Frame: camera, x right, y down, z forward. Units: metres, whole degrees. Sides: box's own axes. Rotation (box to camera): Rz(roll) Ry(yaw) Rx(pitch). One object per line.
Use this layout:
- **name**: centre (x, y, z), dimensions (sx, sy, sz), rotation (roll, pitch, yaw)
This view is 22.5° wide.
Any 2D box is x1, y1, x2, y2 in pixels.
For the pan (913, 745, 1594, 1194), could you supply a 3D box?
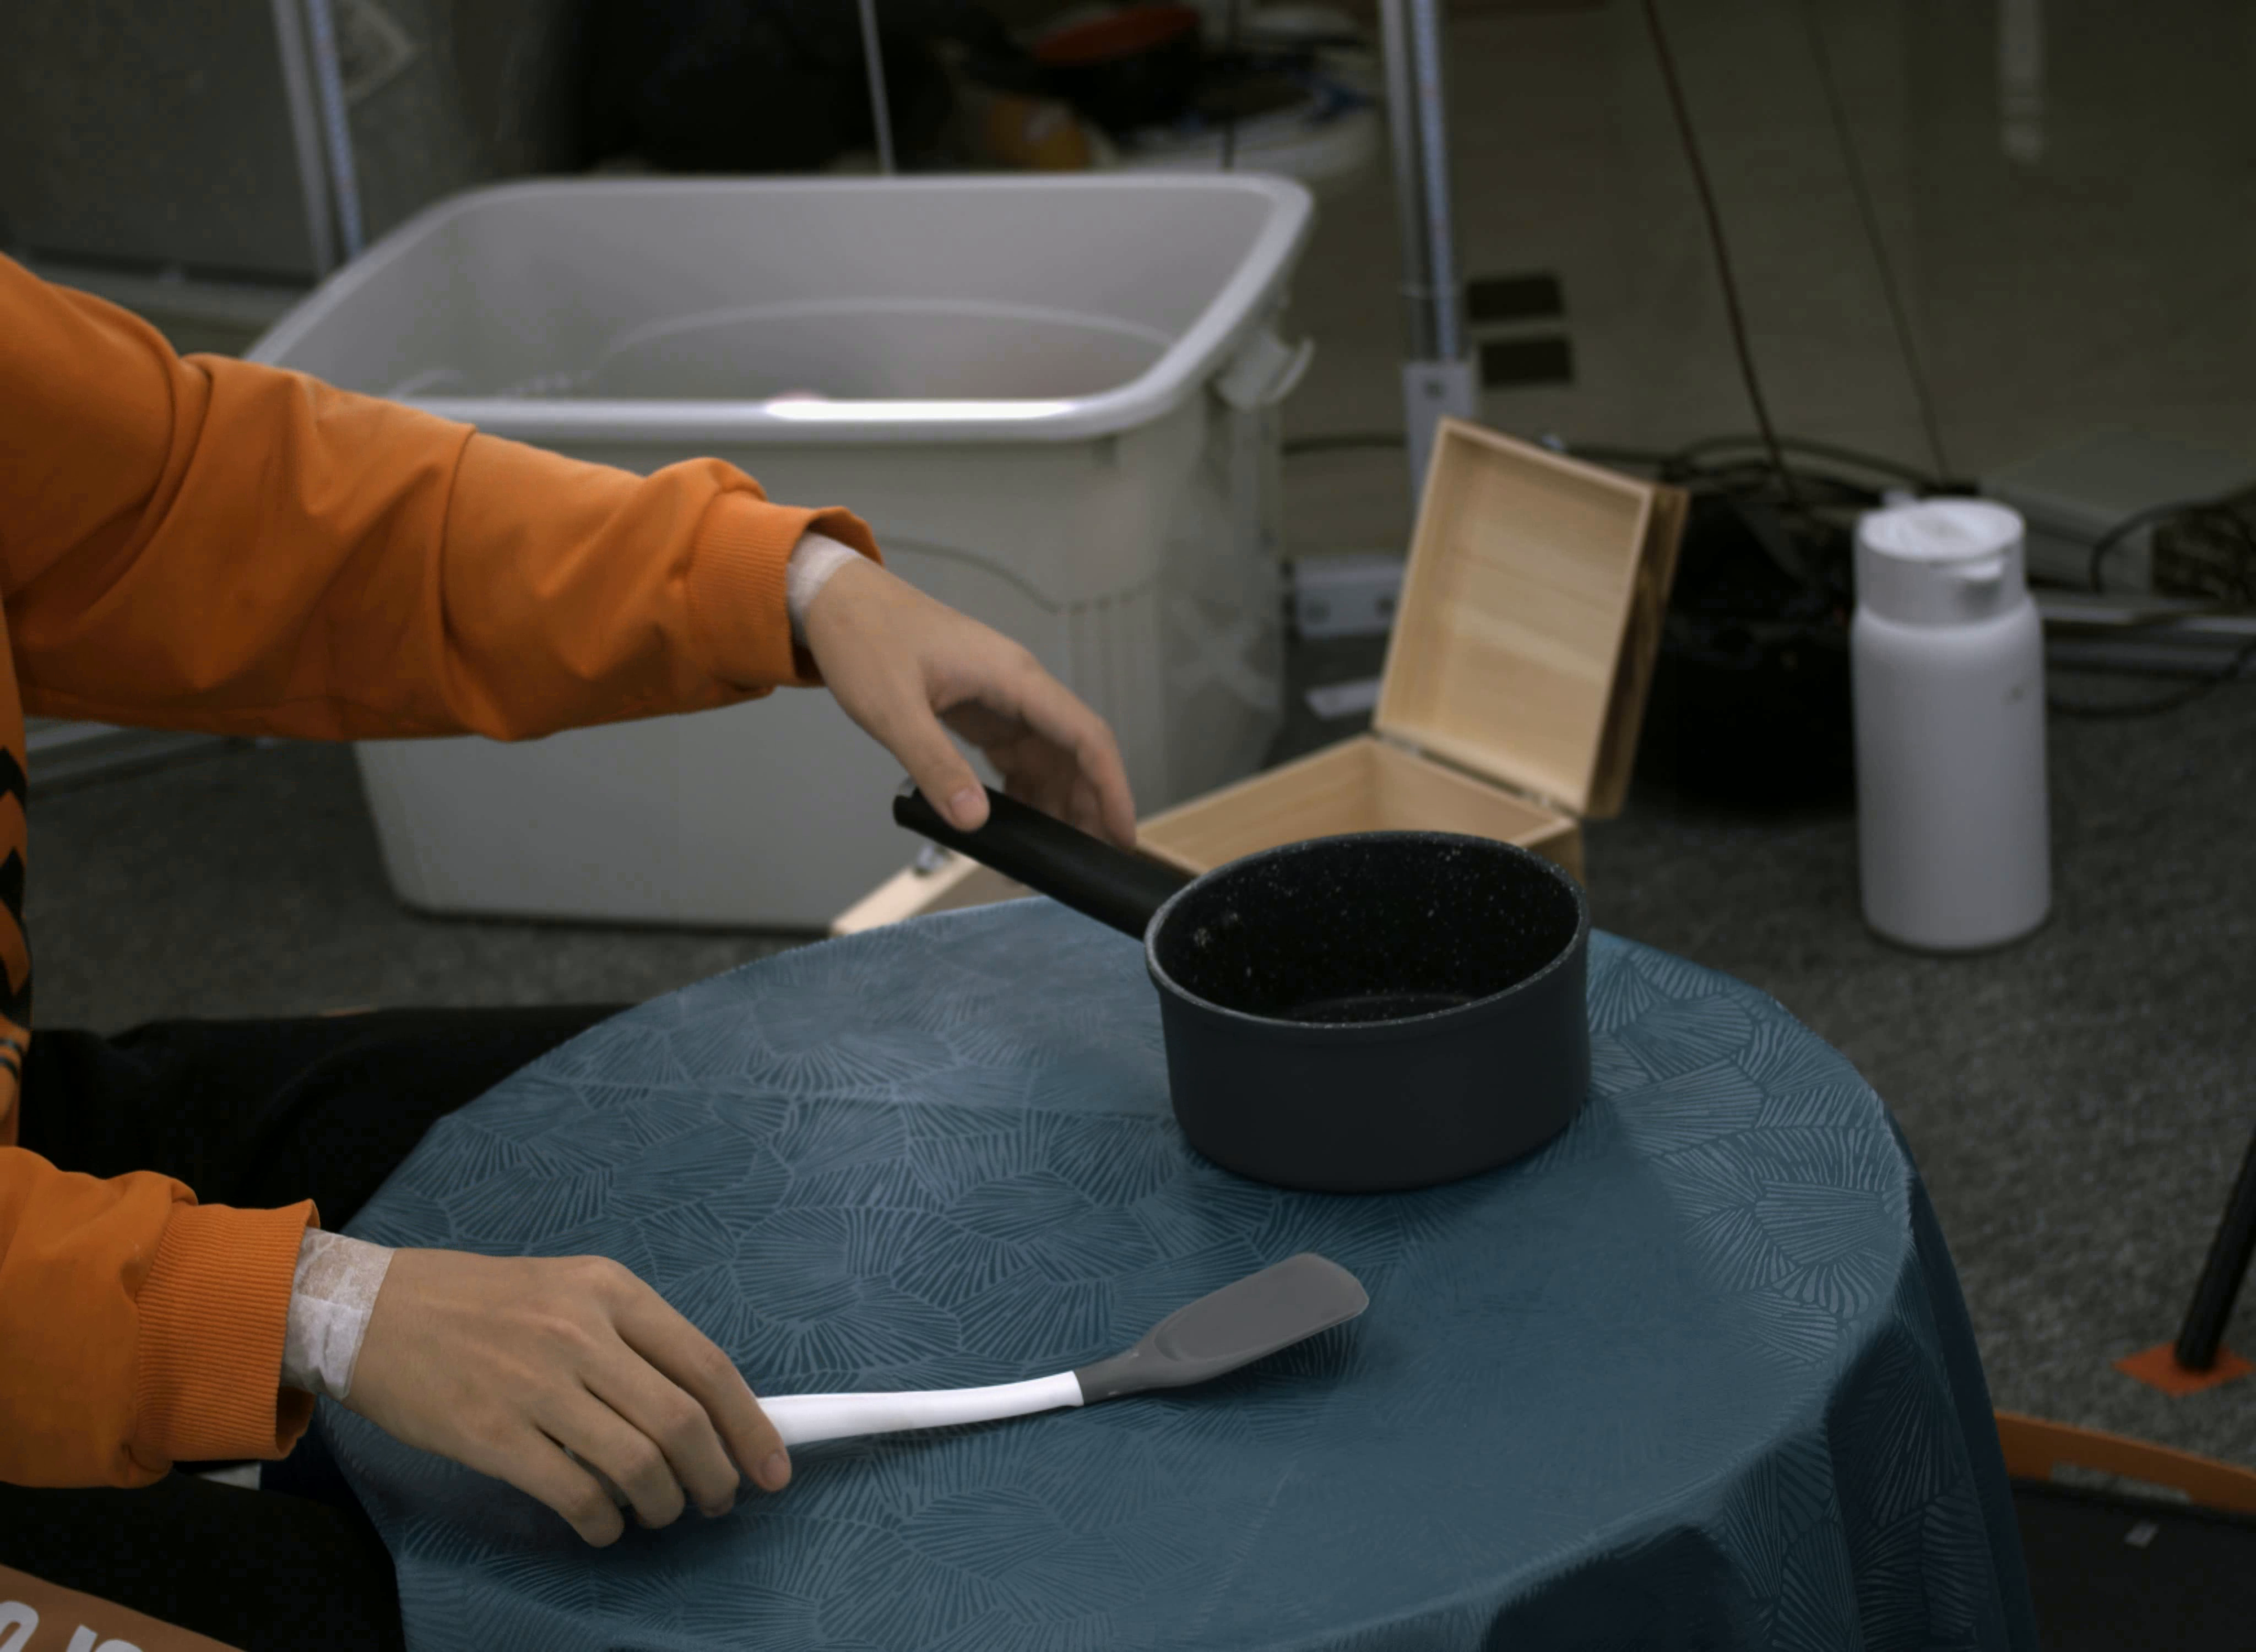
- **pan**: centre (0.038, 0.049, 2.227), dimensions (0.326, 0.088, 0.170), rotation (20, 35, 41)

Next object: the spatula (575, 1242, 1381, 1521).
- **spatula**: centre (-0.052, 0.196, 1.999), dimensions (0.287, 0.032, 0.058), rotation (-12, 21, -11)
